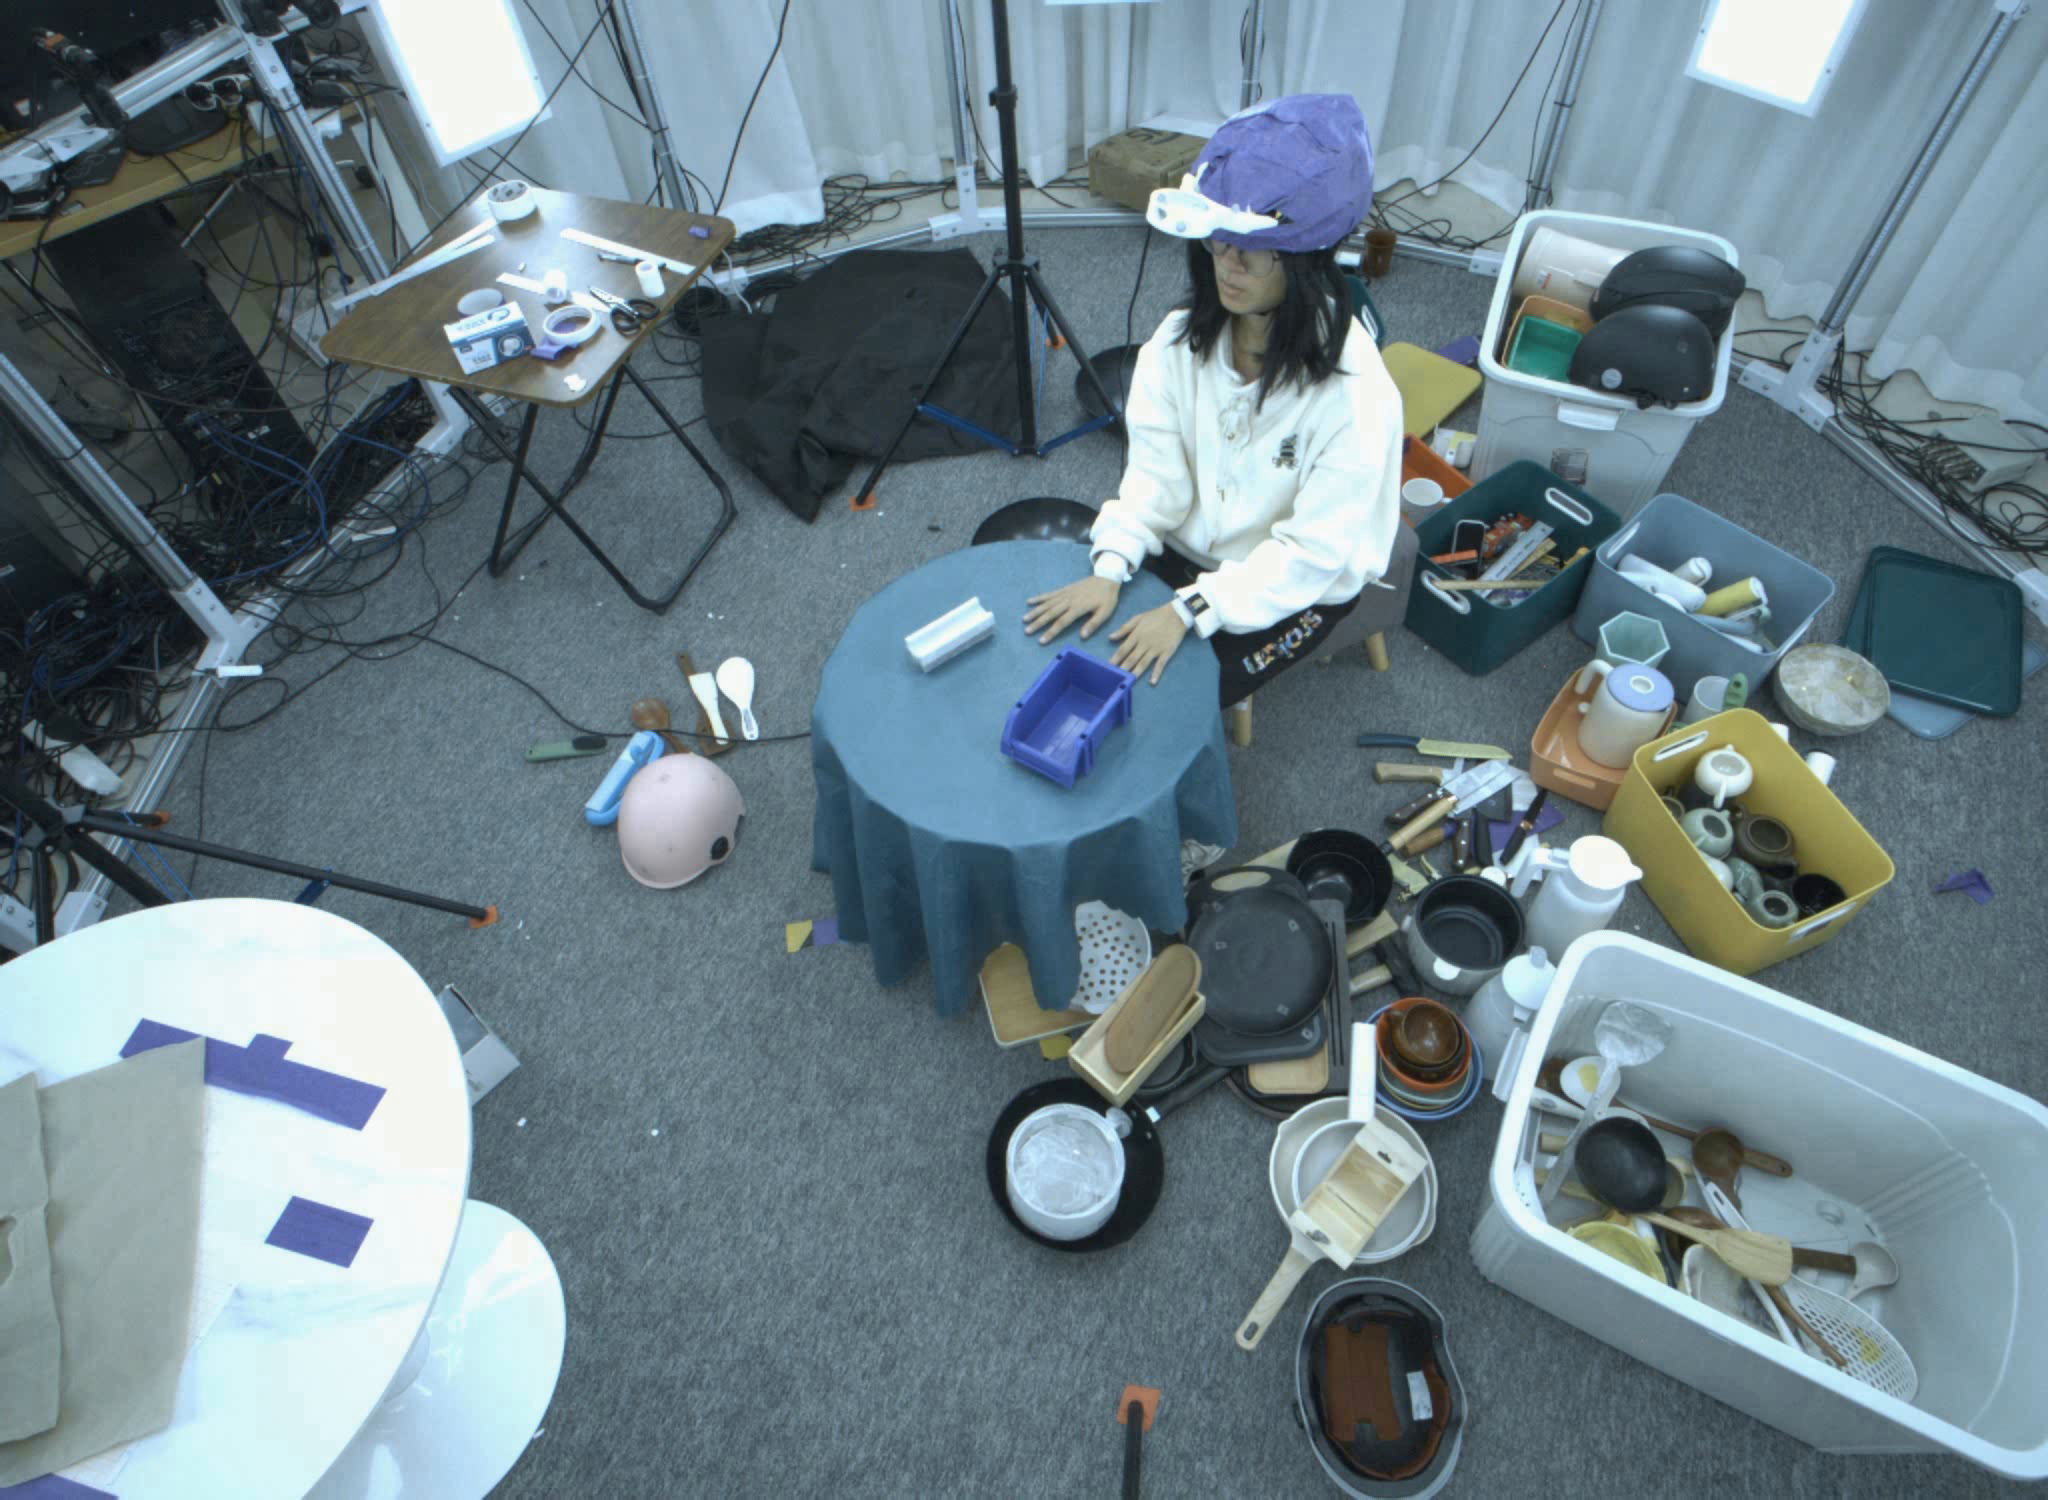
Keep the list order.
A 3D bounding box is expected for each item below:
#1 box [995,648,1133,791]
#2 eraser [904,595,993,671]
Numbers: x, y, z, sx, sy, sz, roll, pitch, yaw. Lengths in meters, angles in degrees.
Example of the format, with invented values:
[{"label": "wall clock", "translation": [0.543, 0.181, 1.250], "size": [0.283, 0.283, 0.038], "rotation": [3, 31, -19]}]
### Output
[{"label": "box", "translation": [0.059, -0.040, 1.764], "size": [0.122, 0.083, 0.180], "rotation": [29, 59, 21]}, {"label": "eraser", "translation": [-0.115, -0.179, 1.889], "size": [0.135, 0.047, 0.049], "rotation": [-36, 59, -19]}]
